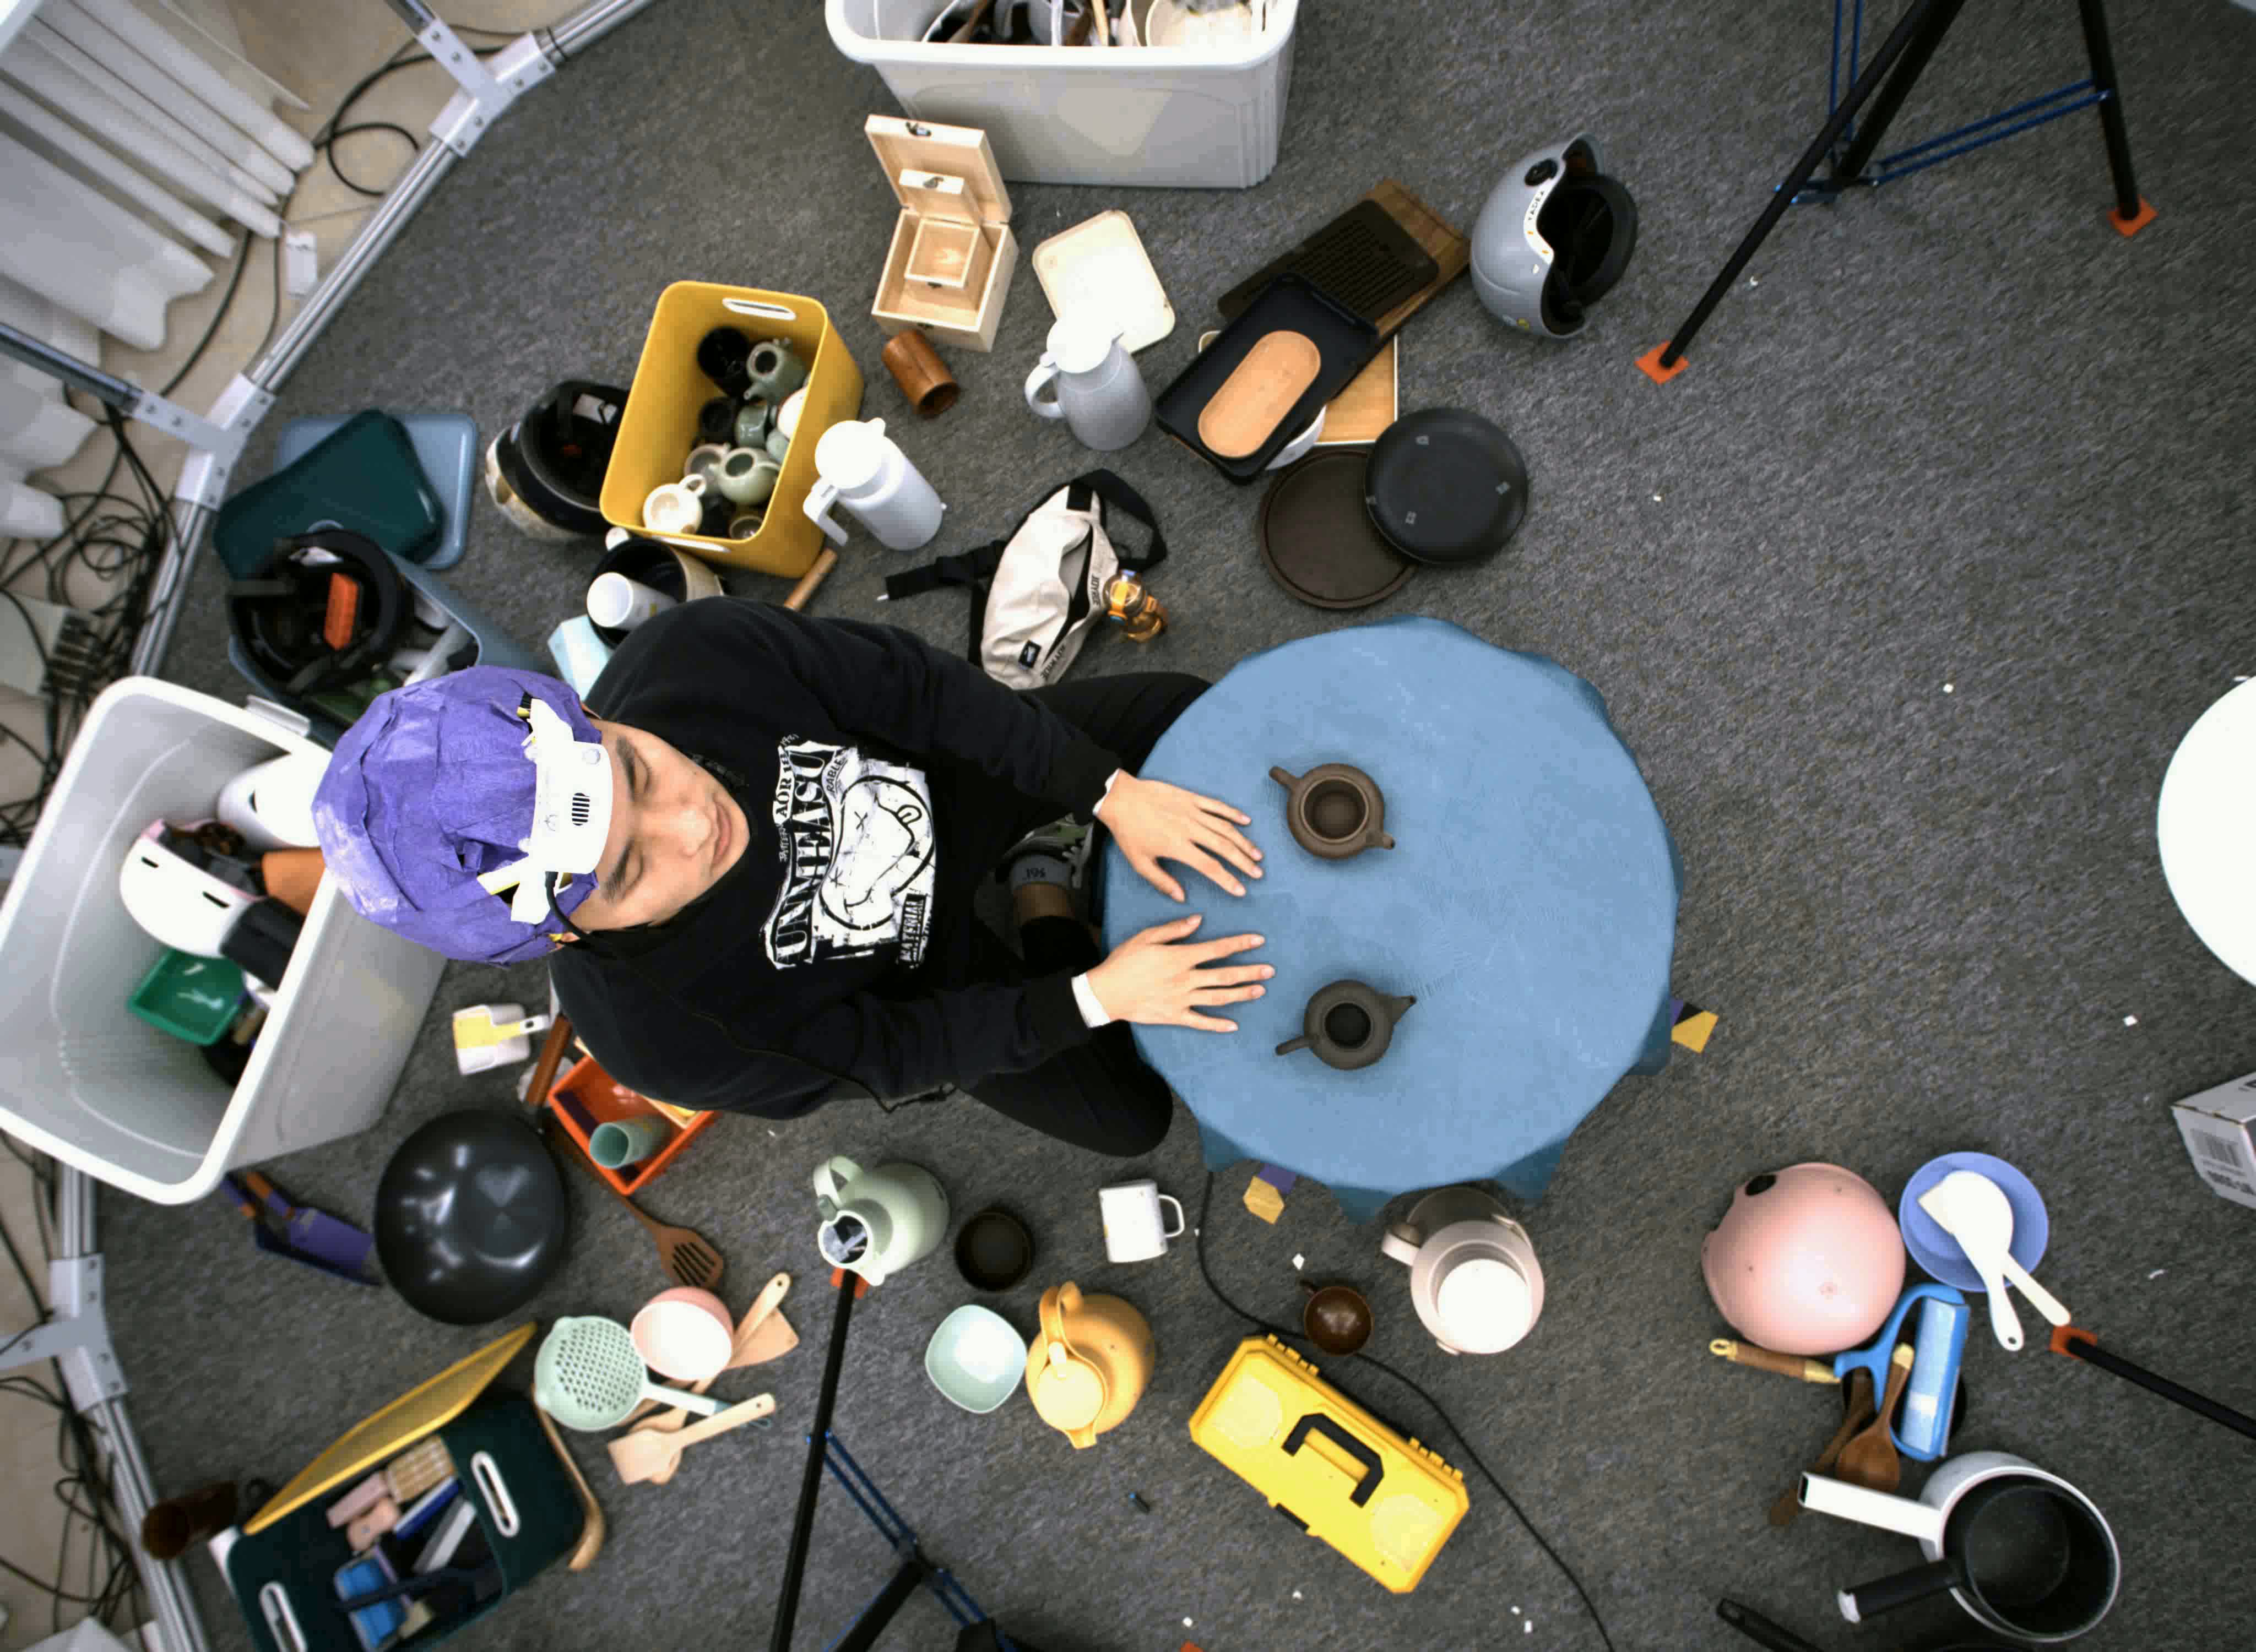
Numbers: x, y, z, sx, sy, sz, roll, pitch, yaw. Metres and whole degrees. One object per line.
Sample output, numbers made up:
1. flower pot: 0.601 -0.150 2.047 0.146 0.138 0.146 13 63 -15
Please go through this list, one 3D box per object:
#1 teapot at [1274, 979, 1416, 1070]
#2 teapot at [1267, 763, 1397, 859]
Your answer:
1. teapot: 0.224 0.205 1.431 0.155 0.064 0.091 -21 81 9
2. teapot: 0.213 -0.019 1.449 0.153 0.054 0.102 28 90 11
